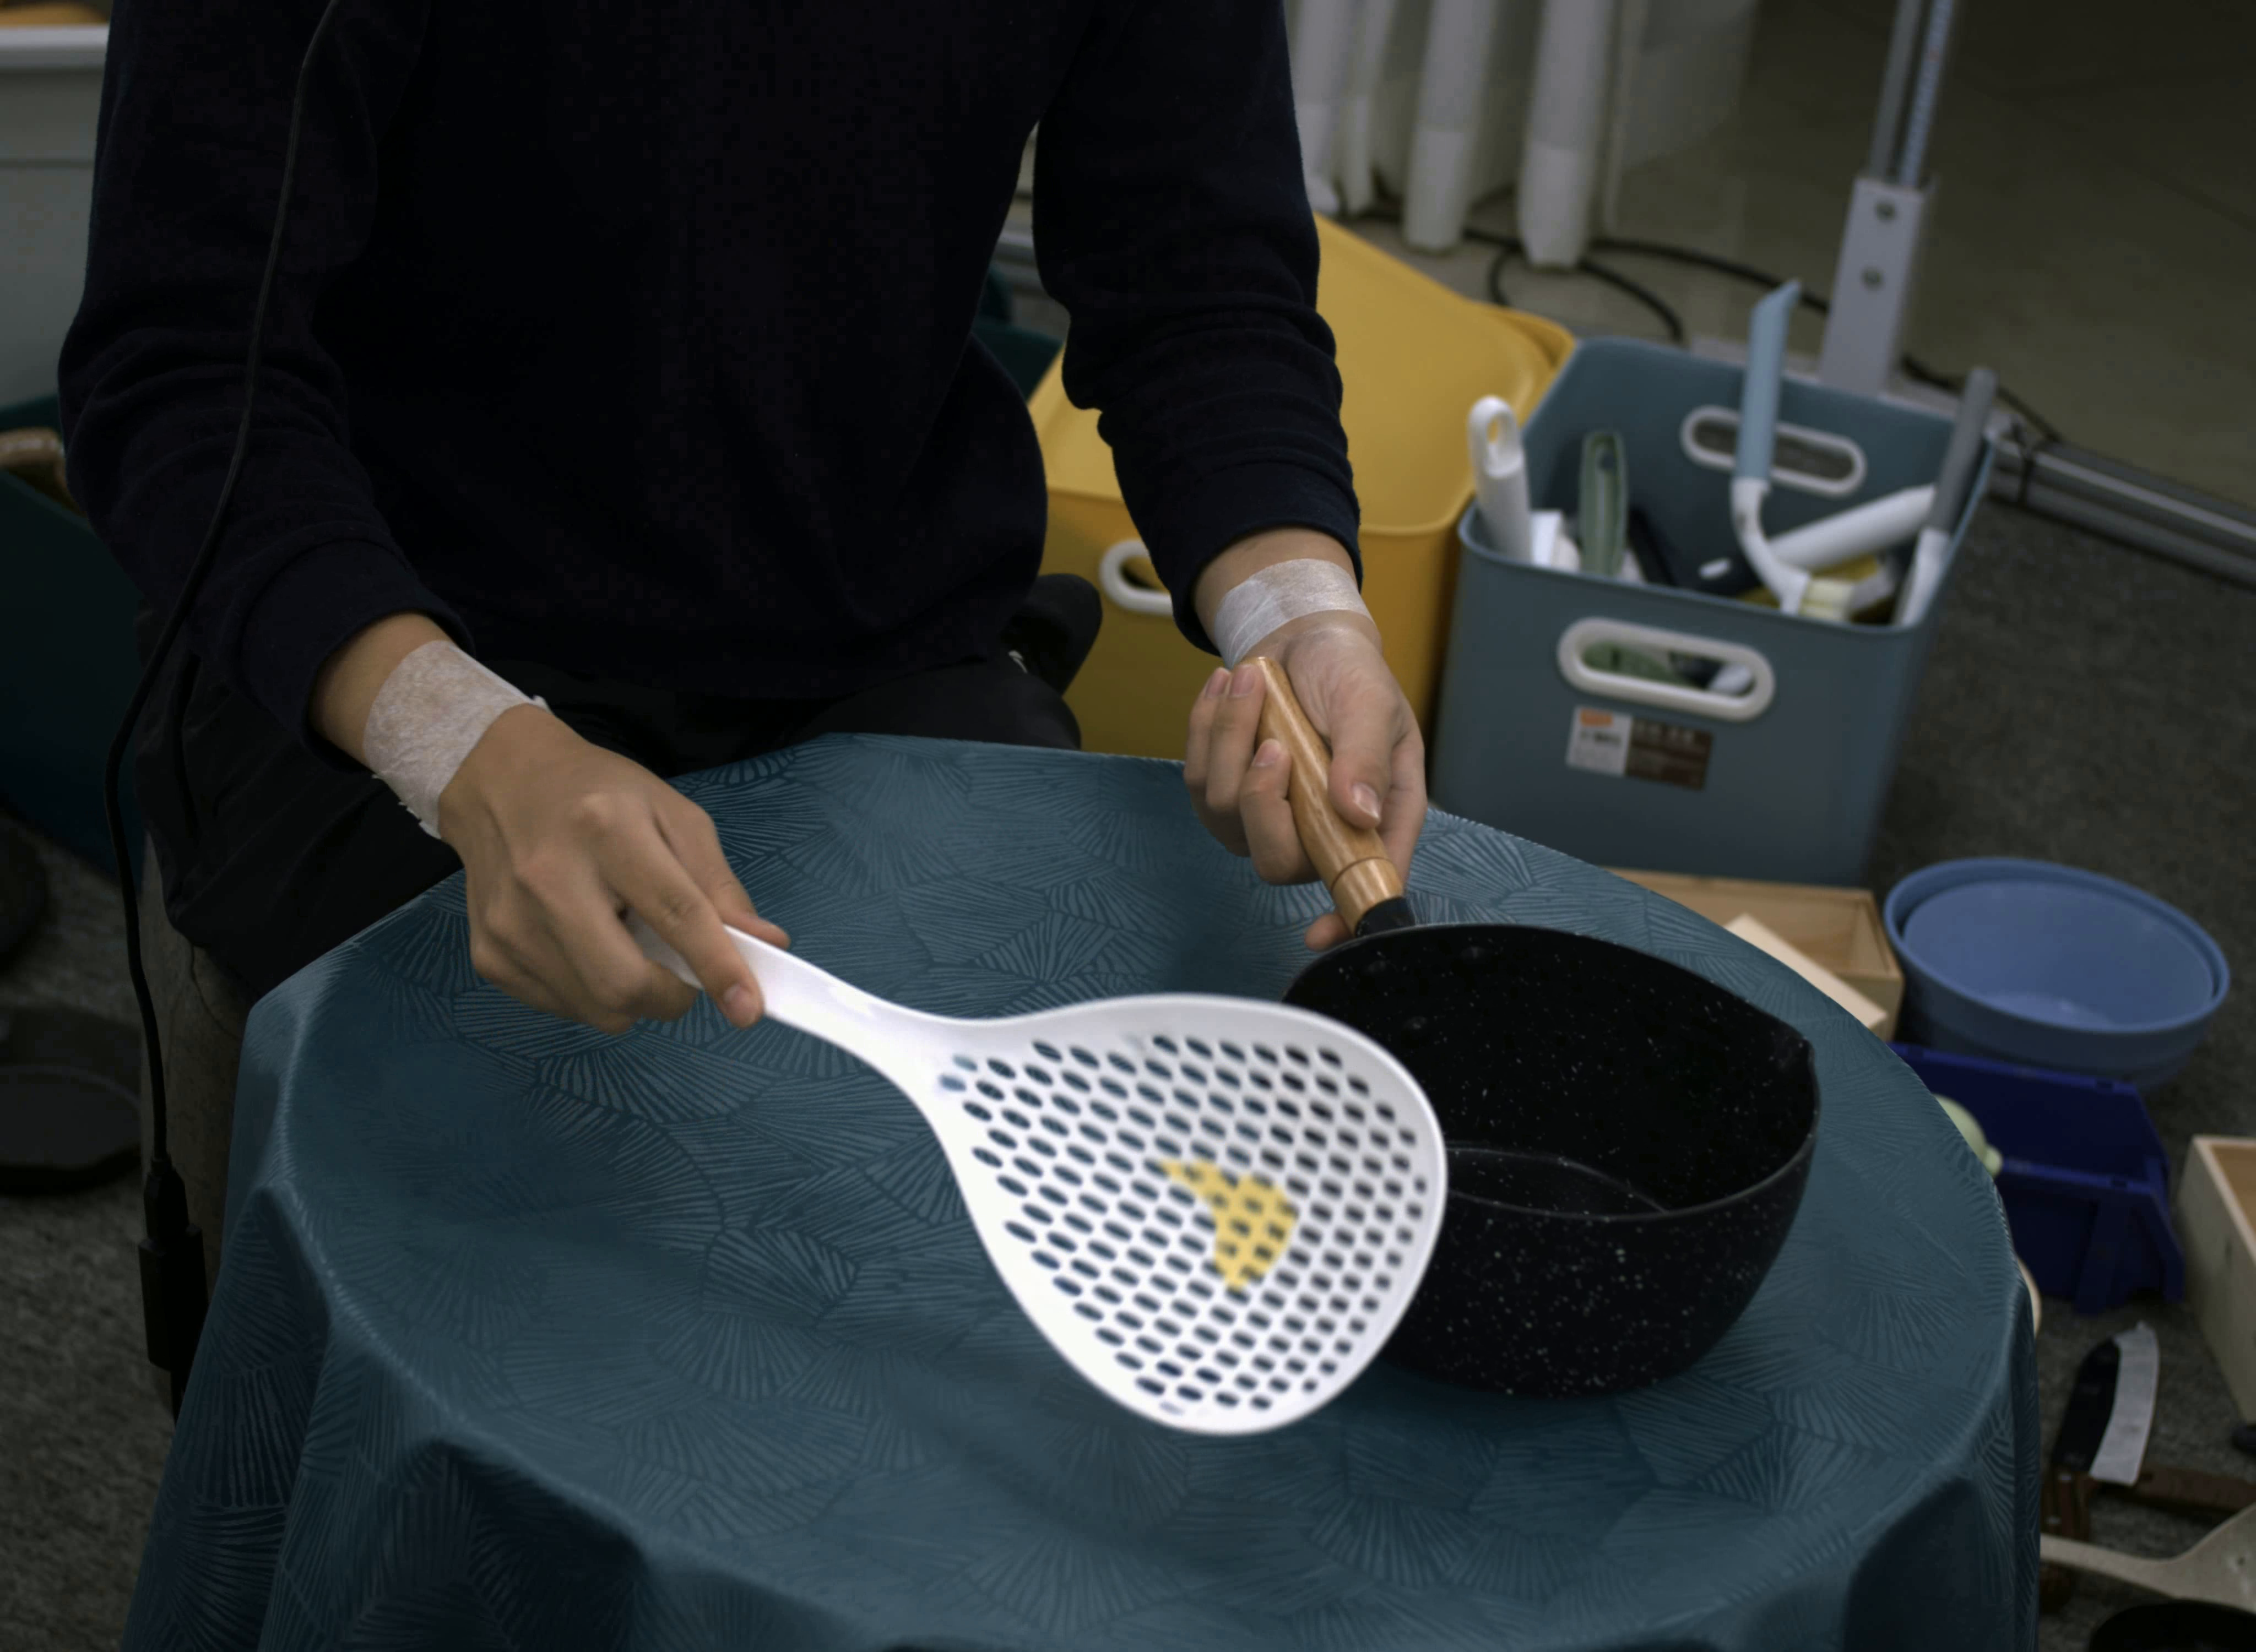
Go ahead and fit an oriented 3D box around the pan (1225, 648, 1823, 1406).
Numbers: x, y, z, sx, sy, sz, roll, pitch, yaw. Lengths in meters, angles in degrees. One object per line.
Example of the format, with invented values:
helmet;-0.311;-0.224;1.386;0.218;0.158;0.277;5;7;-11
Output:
pan;0.101;0.065;1.813;0.206;0.108;0.346;-7;33;-23

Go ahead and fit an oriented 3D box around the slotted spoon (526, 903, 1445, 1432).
slotted spoon;-0.055;0.080;1.676;0.349;0.137;0.050;22;-5;24
